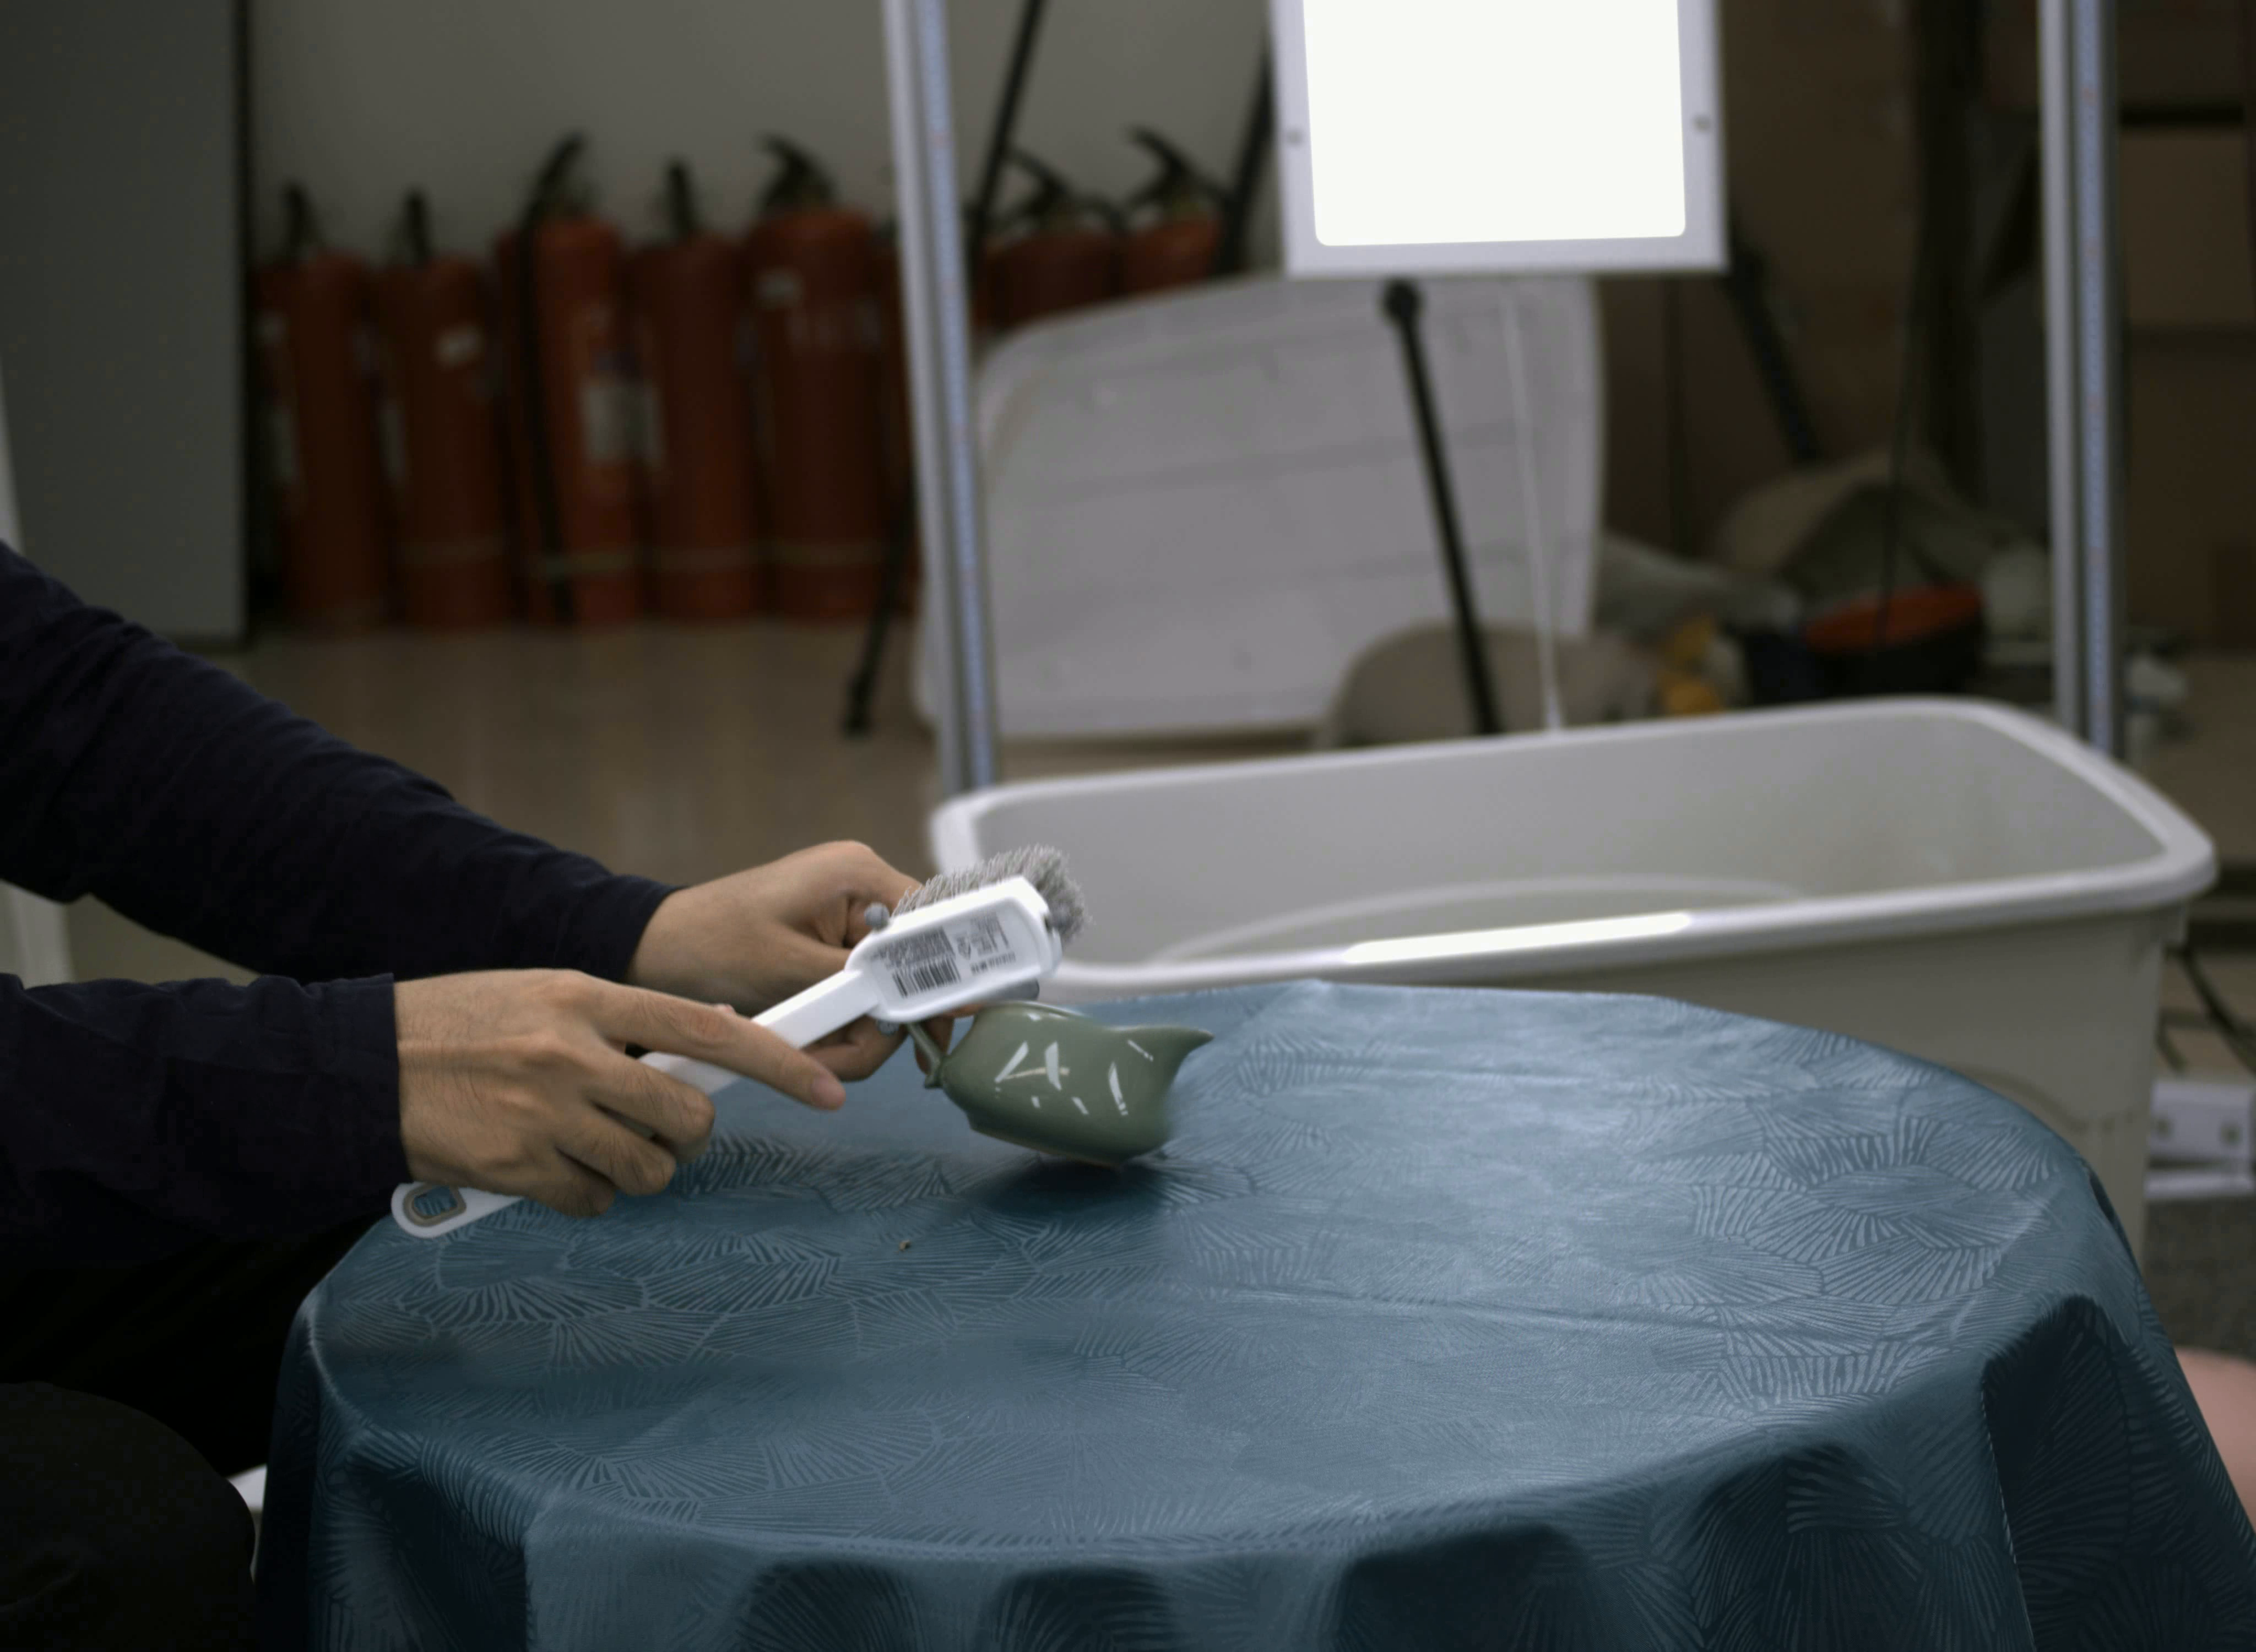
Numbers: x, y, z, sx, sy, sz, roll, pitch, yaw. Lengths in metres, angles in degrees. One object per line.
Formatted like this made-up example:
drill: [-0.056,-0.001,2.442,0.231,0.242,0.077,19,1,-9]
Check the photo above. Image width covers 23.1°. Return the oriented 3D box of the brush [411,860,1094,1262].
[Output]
brush: [-0.124,0.076,1.796,0.245,0.034,0.050,-26,22,11]

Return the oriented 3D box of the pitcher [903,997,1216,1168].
pitcher: [-0.029,0.084,1.921,0.113,0.056,0.083,12,3,9]
